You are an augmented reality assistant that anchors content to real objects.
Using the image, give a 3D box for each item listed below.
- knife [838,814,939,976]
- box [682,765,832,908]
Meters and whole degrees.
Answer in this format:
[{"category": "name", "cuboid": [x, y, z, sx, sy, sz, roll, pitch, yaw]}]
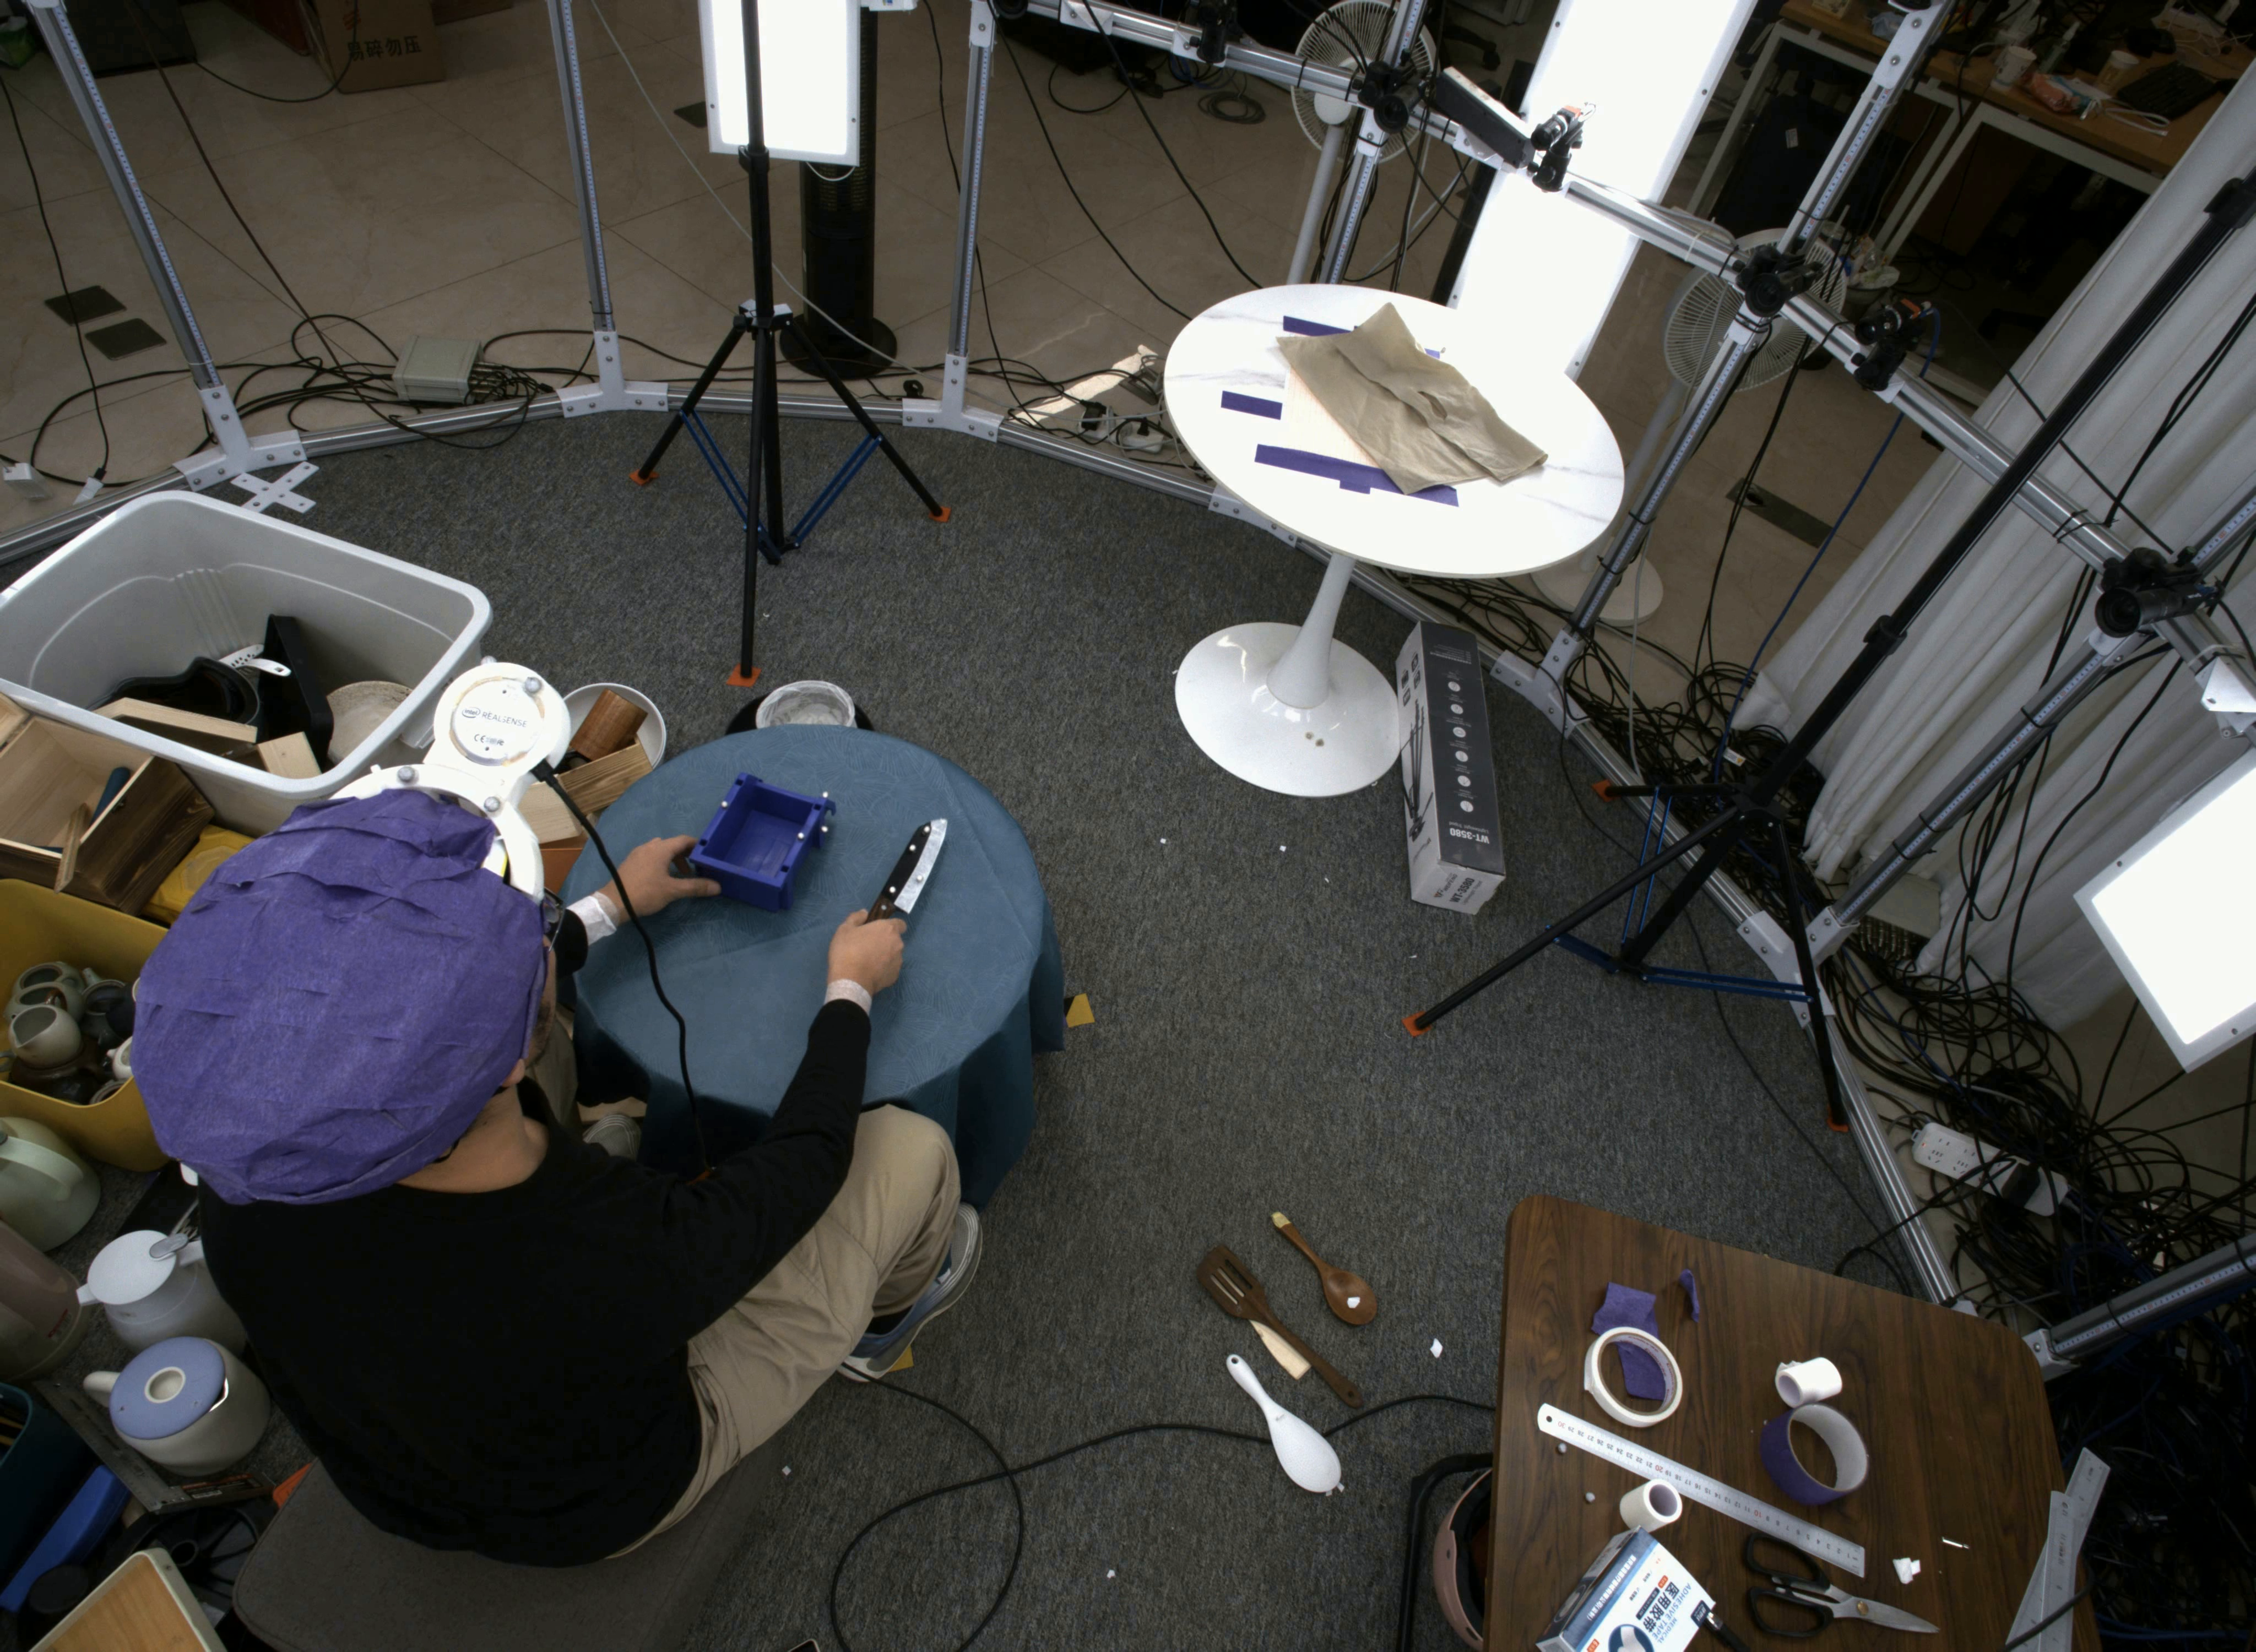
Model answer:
[{"category": "knife", "cuboid": [-0.296, 0.078, 1.633, 0.051, 0.020, 0.286, 34, 45, -11]}, {"category": "box", "cuboid": [-0.471, 0.006, 1.650, 0.123, 0.083, 0.177, 18, 54, 1]}]
